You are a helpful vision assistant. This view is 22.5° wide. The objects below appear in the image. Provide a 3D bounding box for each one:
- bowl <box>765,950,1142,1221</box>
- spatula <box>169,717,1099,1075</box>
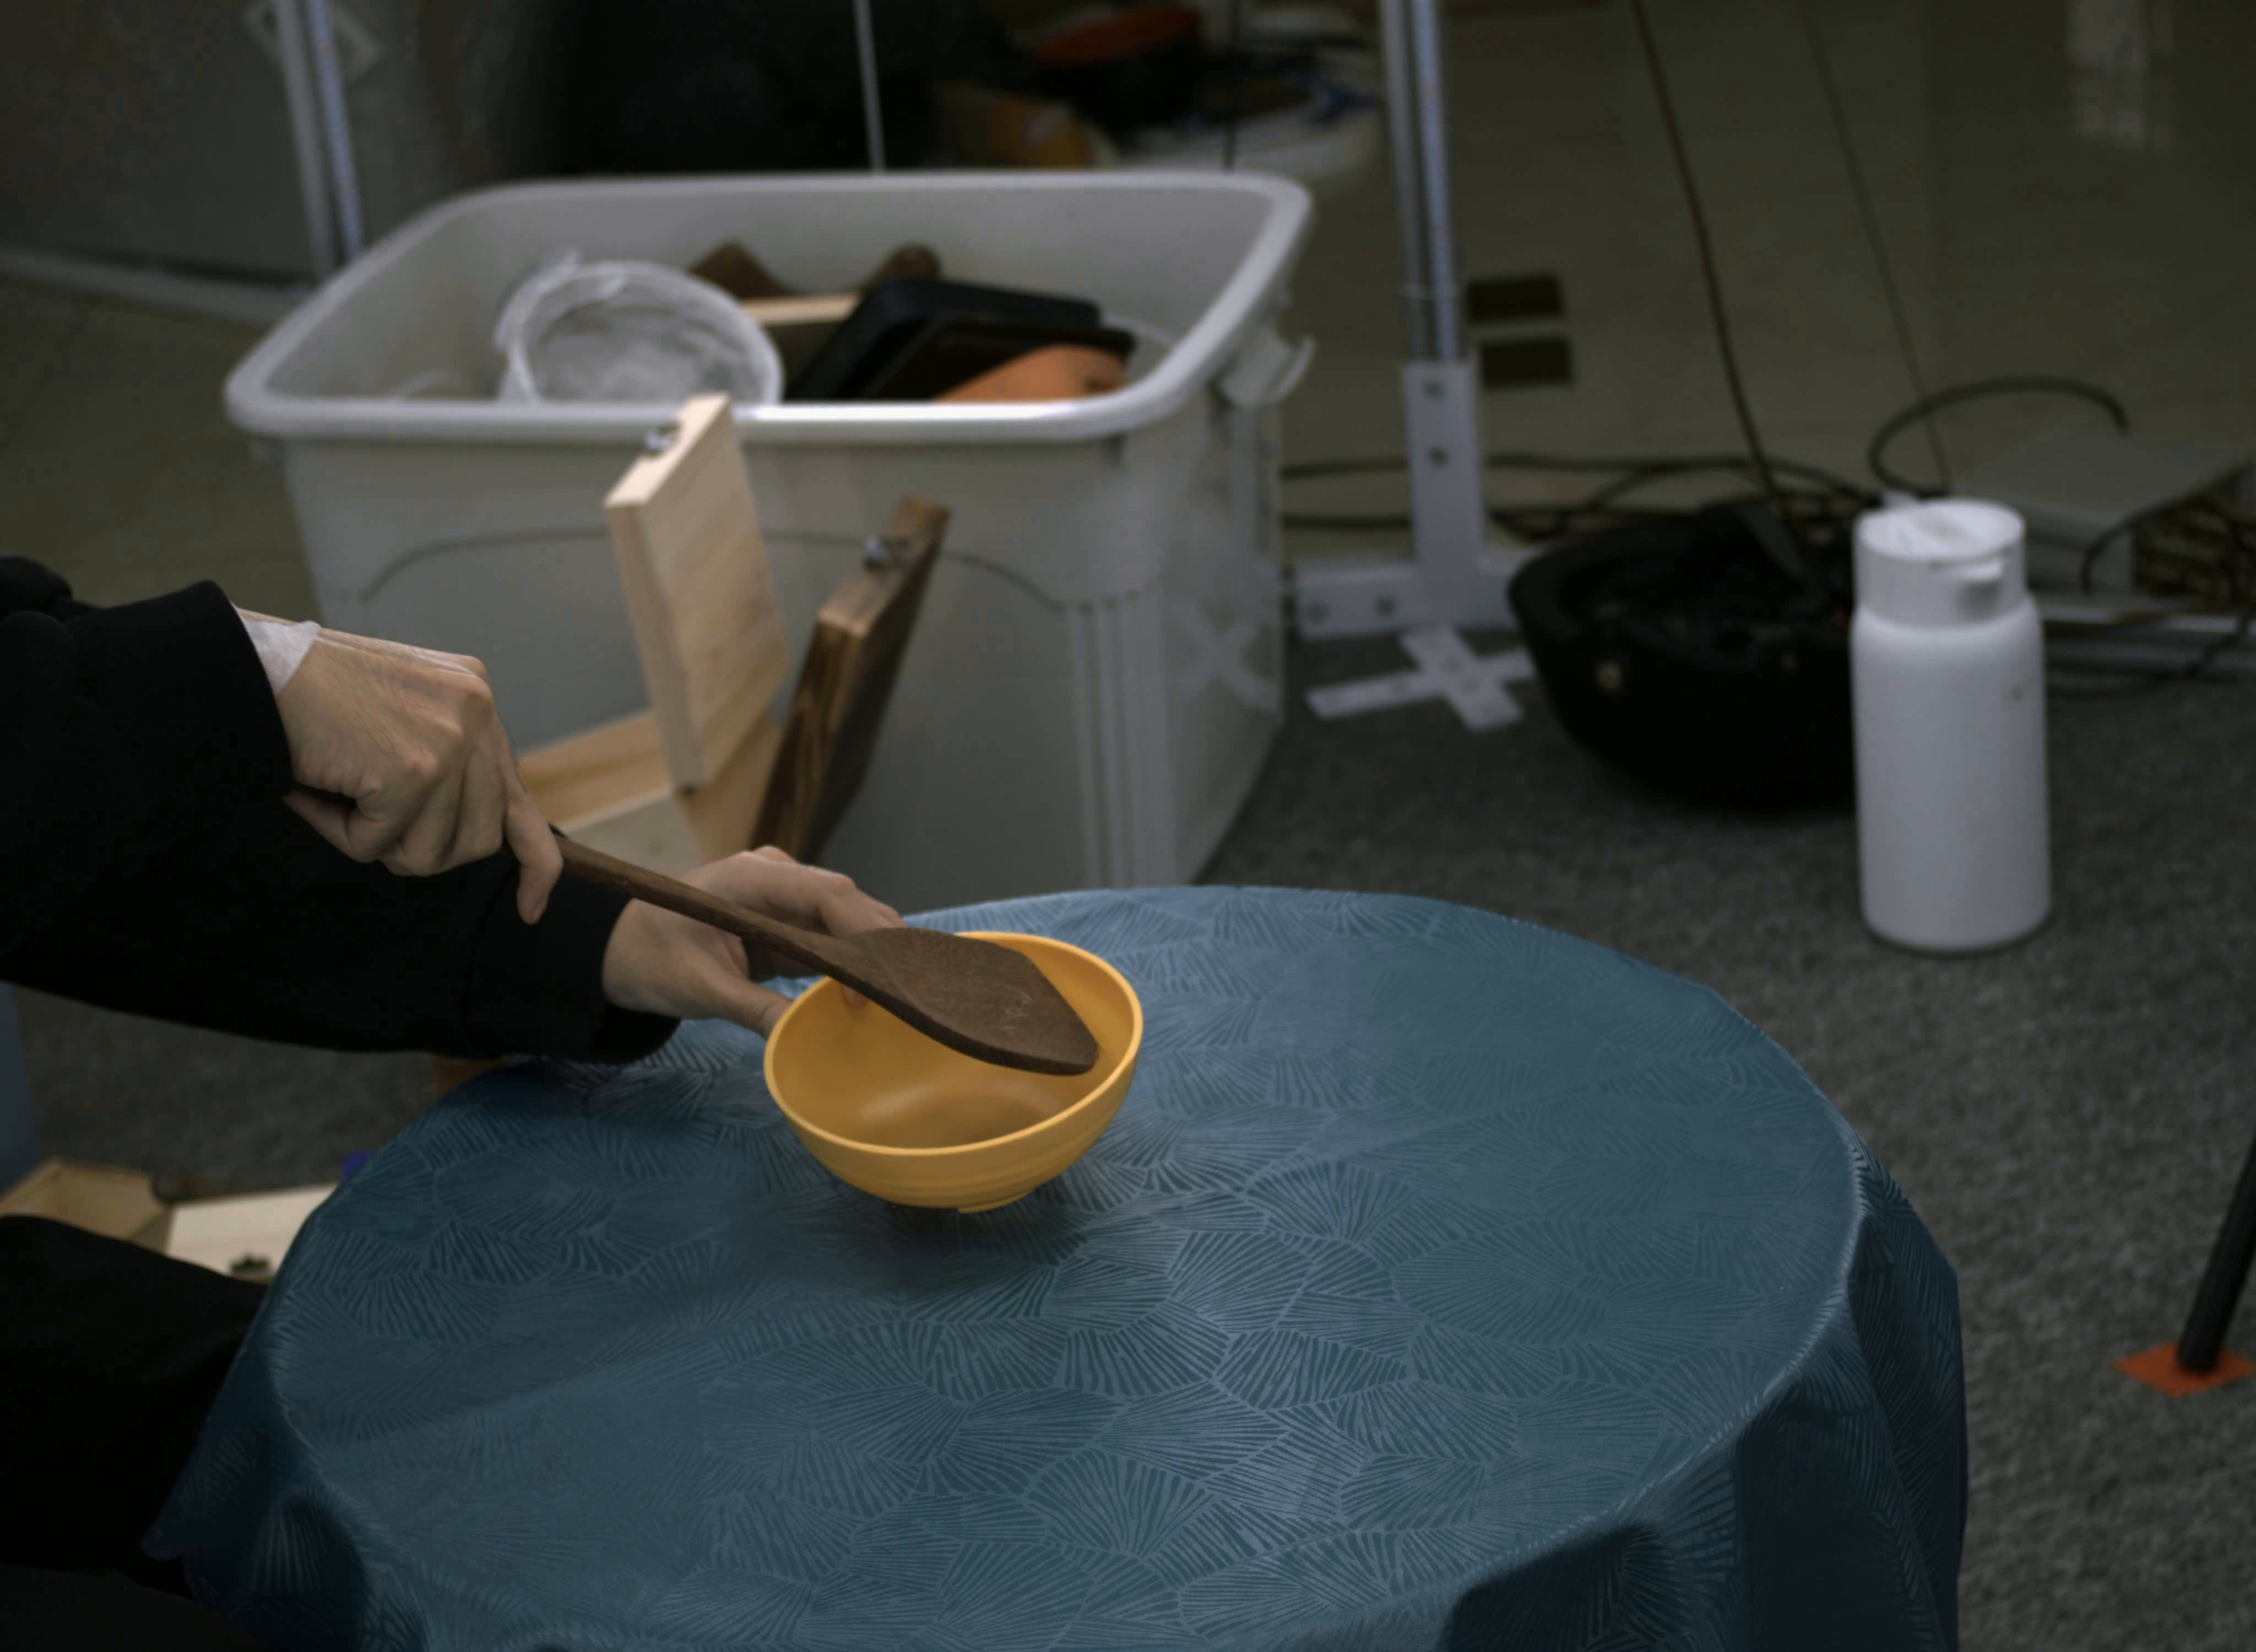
[{"bbox_3d":[-0.063,0.108,2.158,0.145,0.061,0.143,-6,30,4],"label":"bowl"},{"bbox_3d":[-0.174,0.022,2.055,0.388,0.016,0.094,20,20,-32],"label":"spatula"}]
